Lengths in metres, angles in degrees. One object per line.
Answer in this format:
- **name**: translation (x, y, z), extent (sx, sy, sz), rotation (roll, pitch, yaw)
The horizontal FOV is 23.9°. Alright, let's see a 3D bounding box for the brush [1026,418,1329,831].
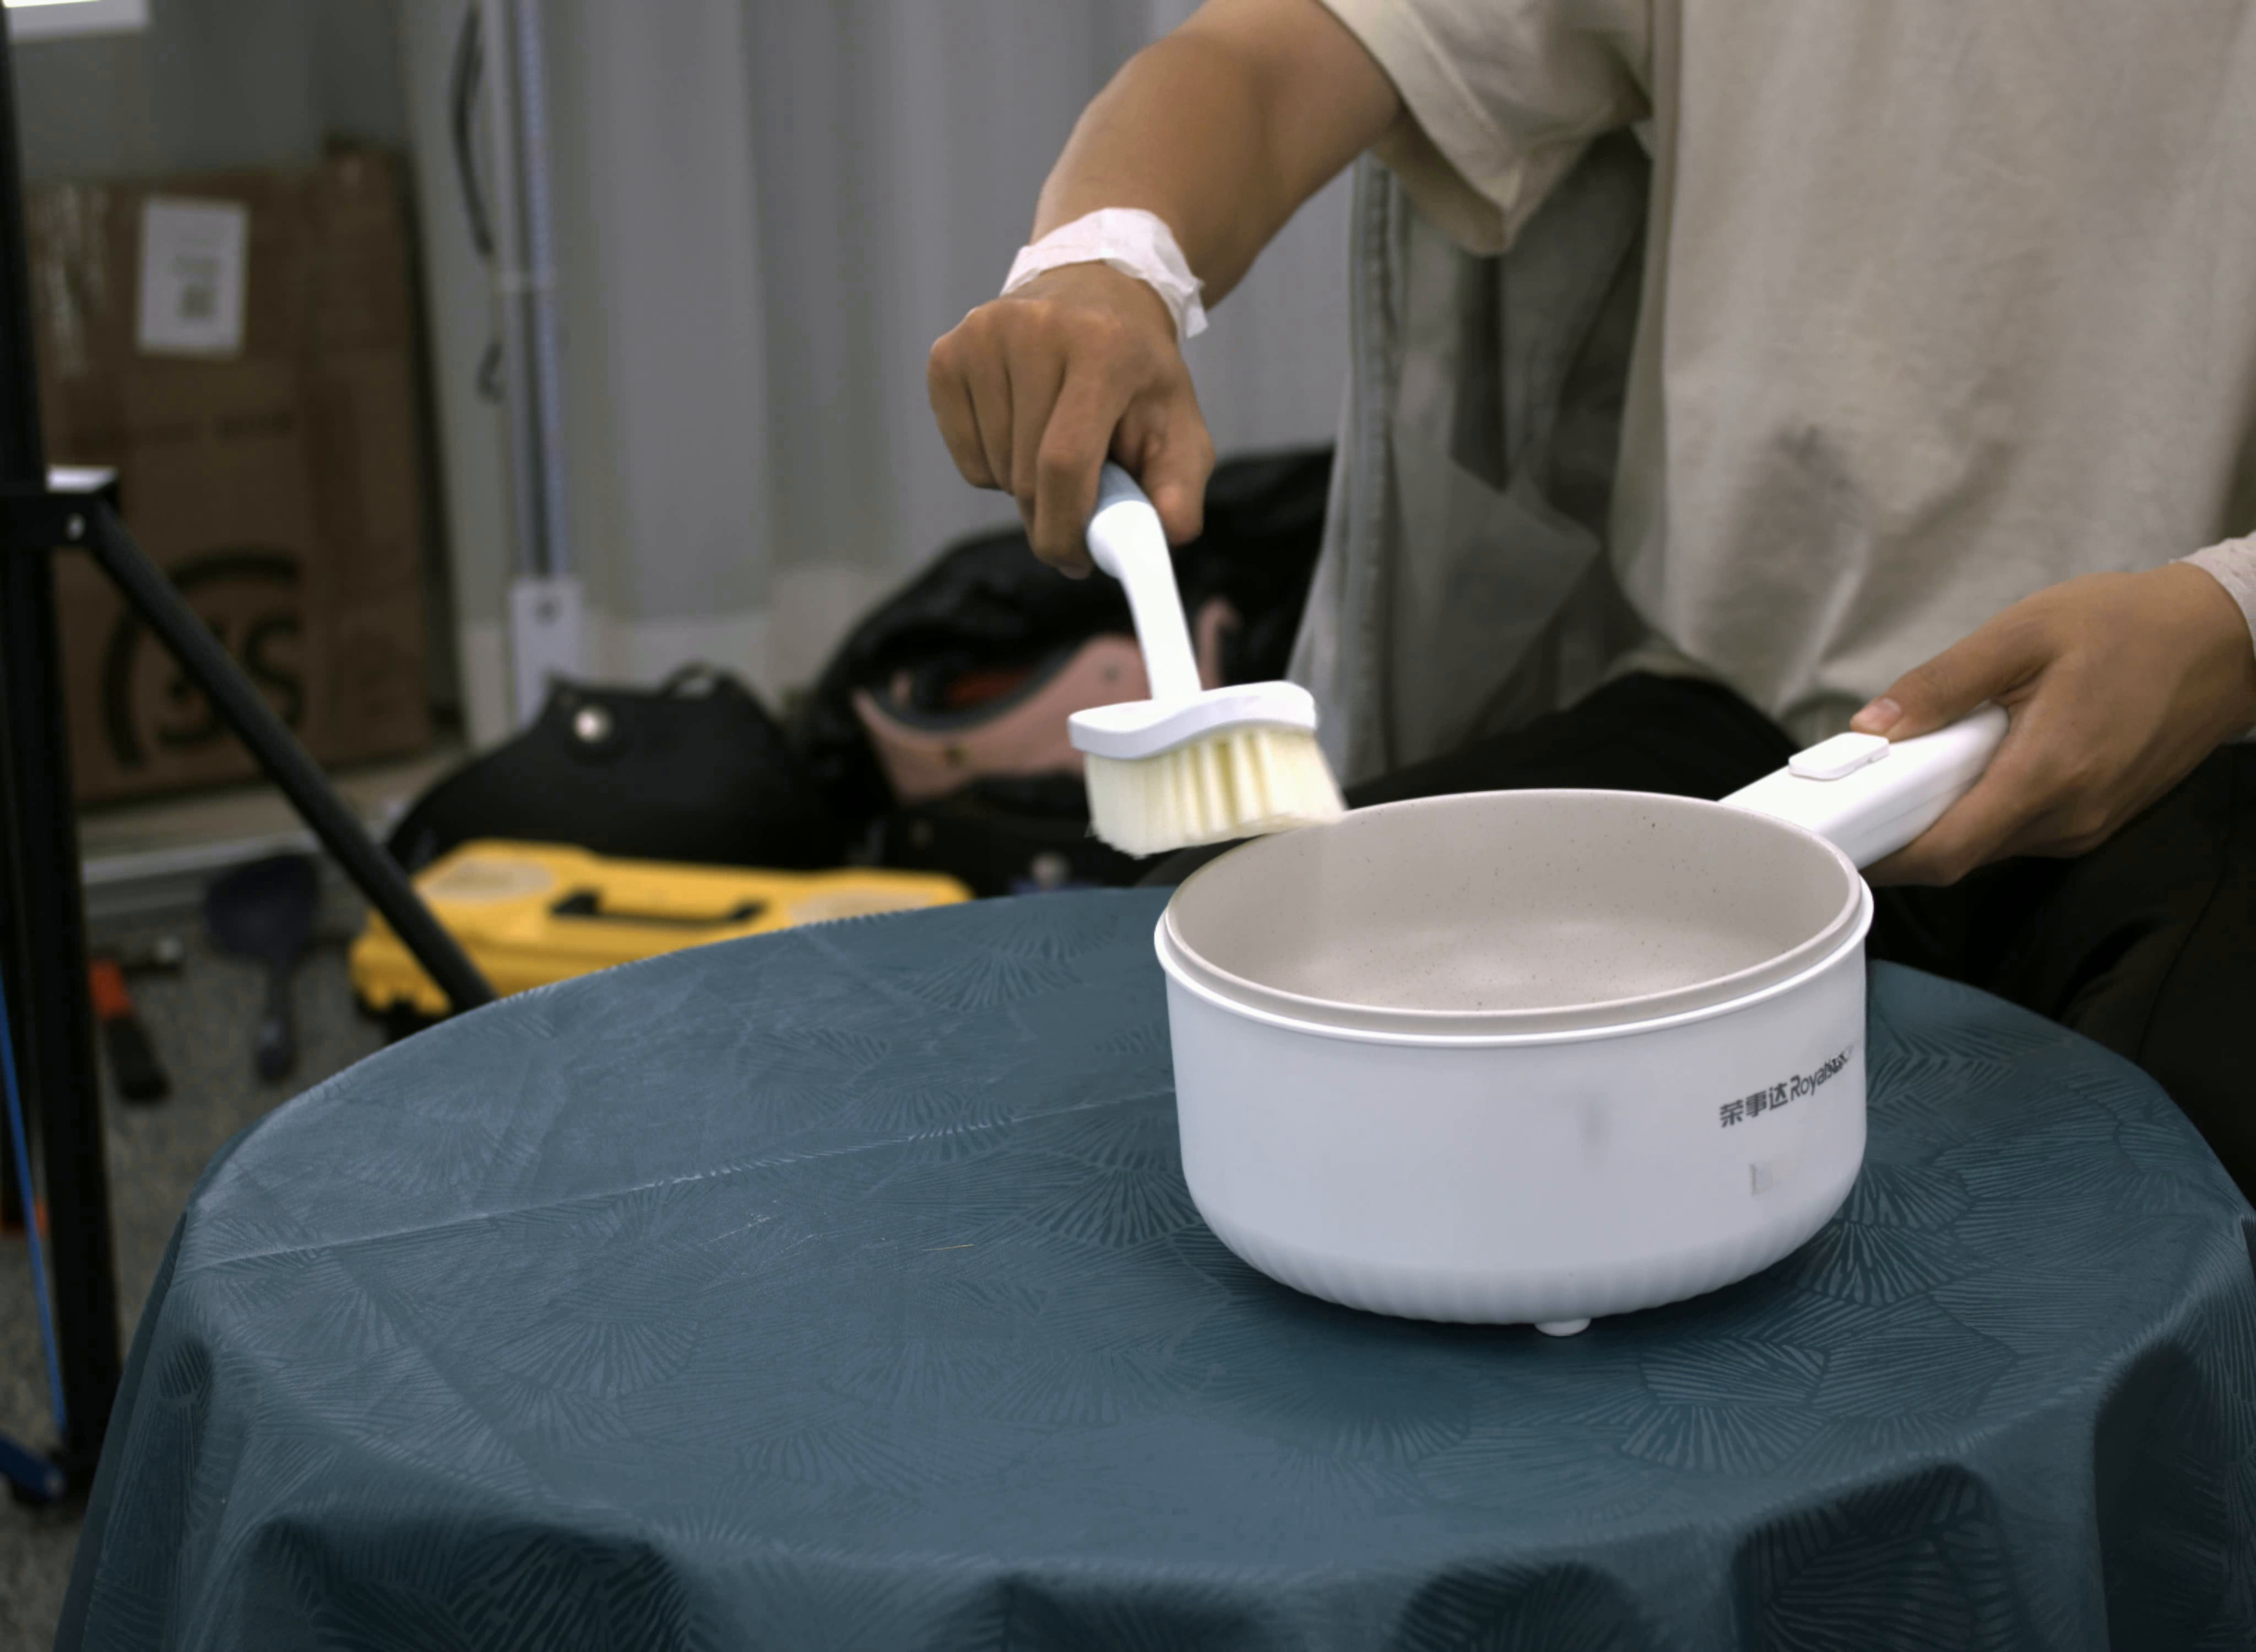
- **brush**: translation (0.009, -0.047, 1.622), extent (0.082, 0.085, 0.329), rotation (29, 9, -15)

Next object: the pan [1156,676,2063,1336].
- **pan**: translation (0.160, 0.047, 1.541), extent (0.206, 0.102, 0.347), rotation (11, 23, 41)
